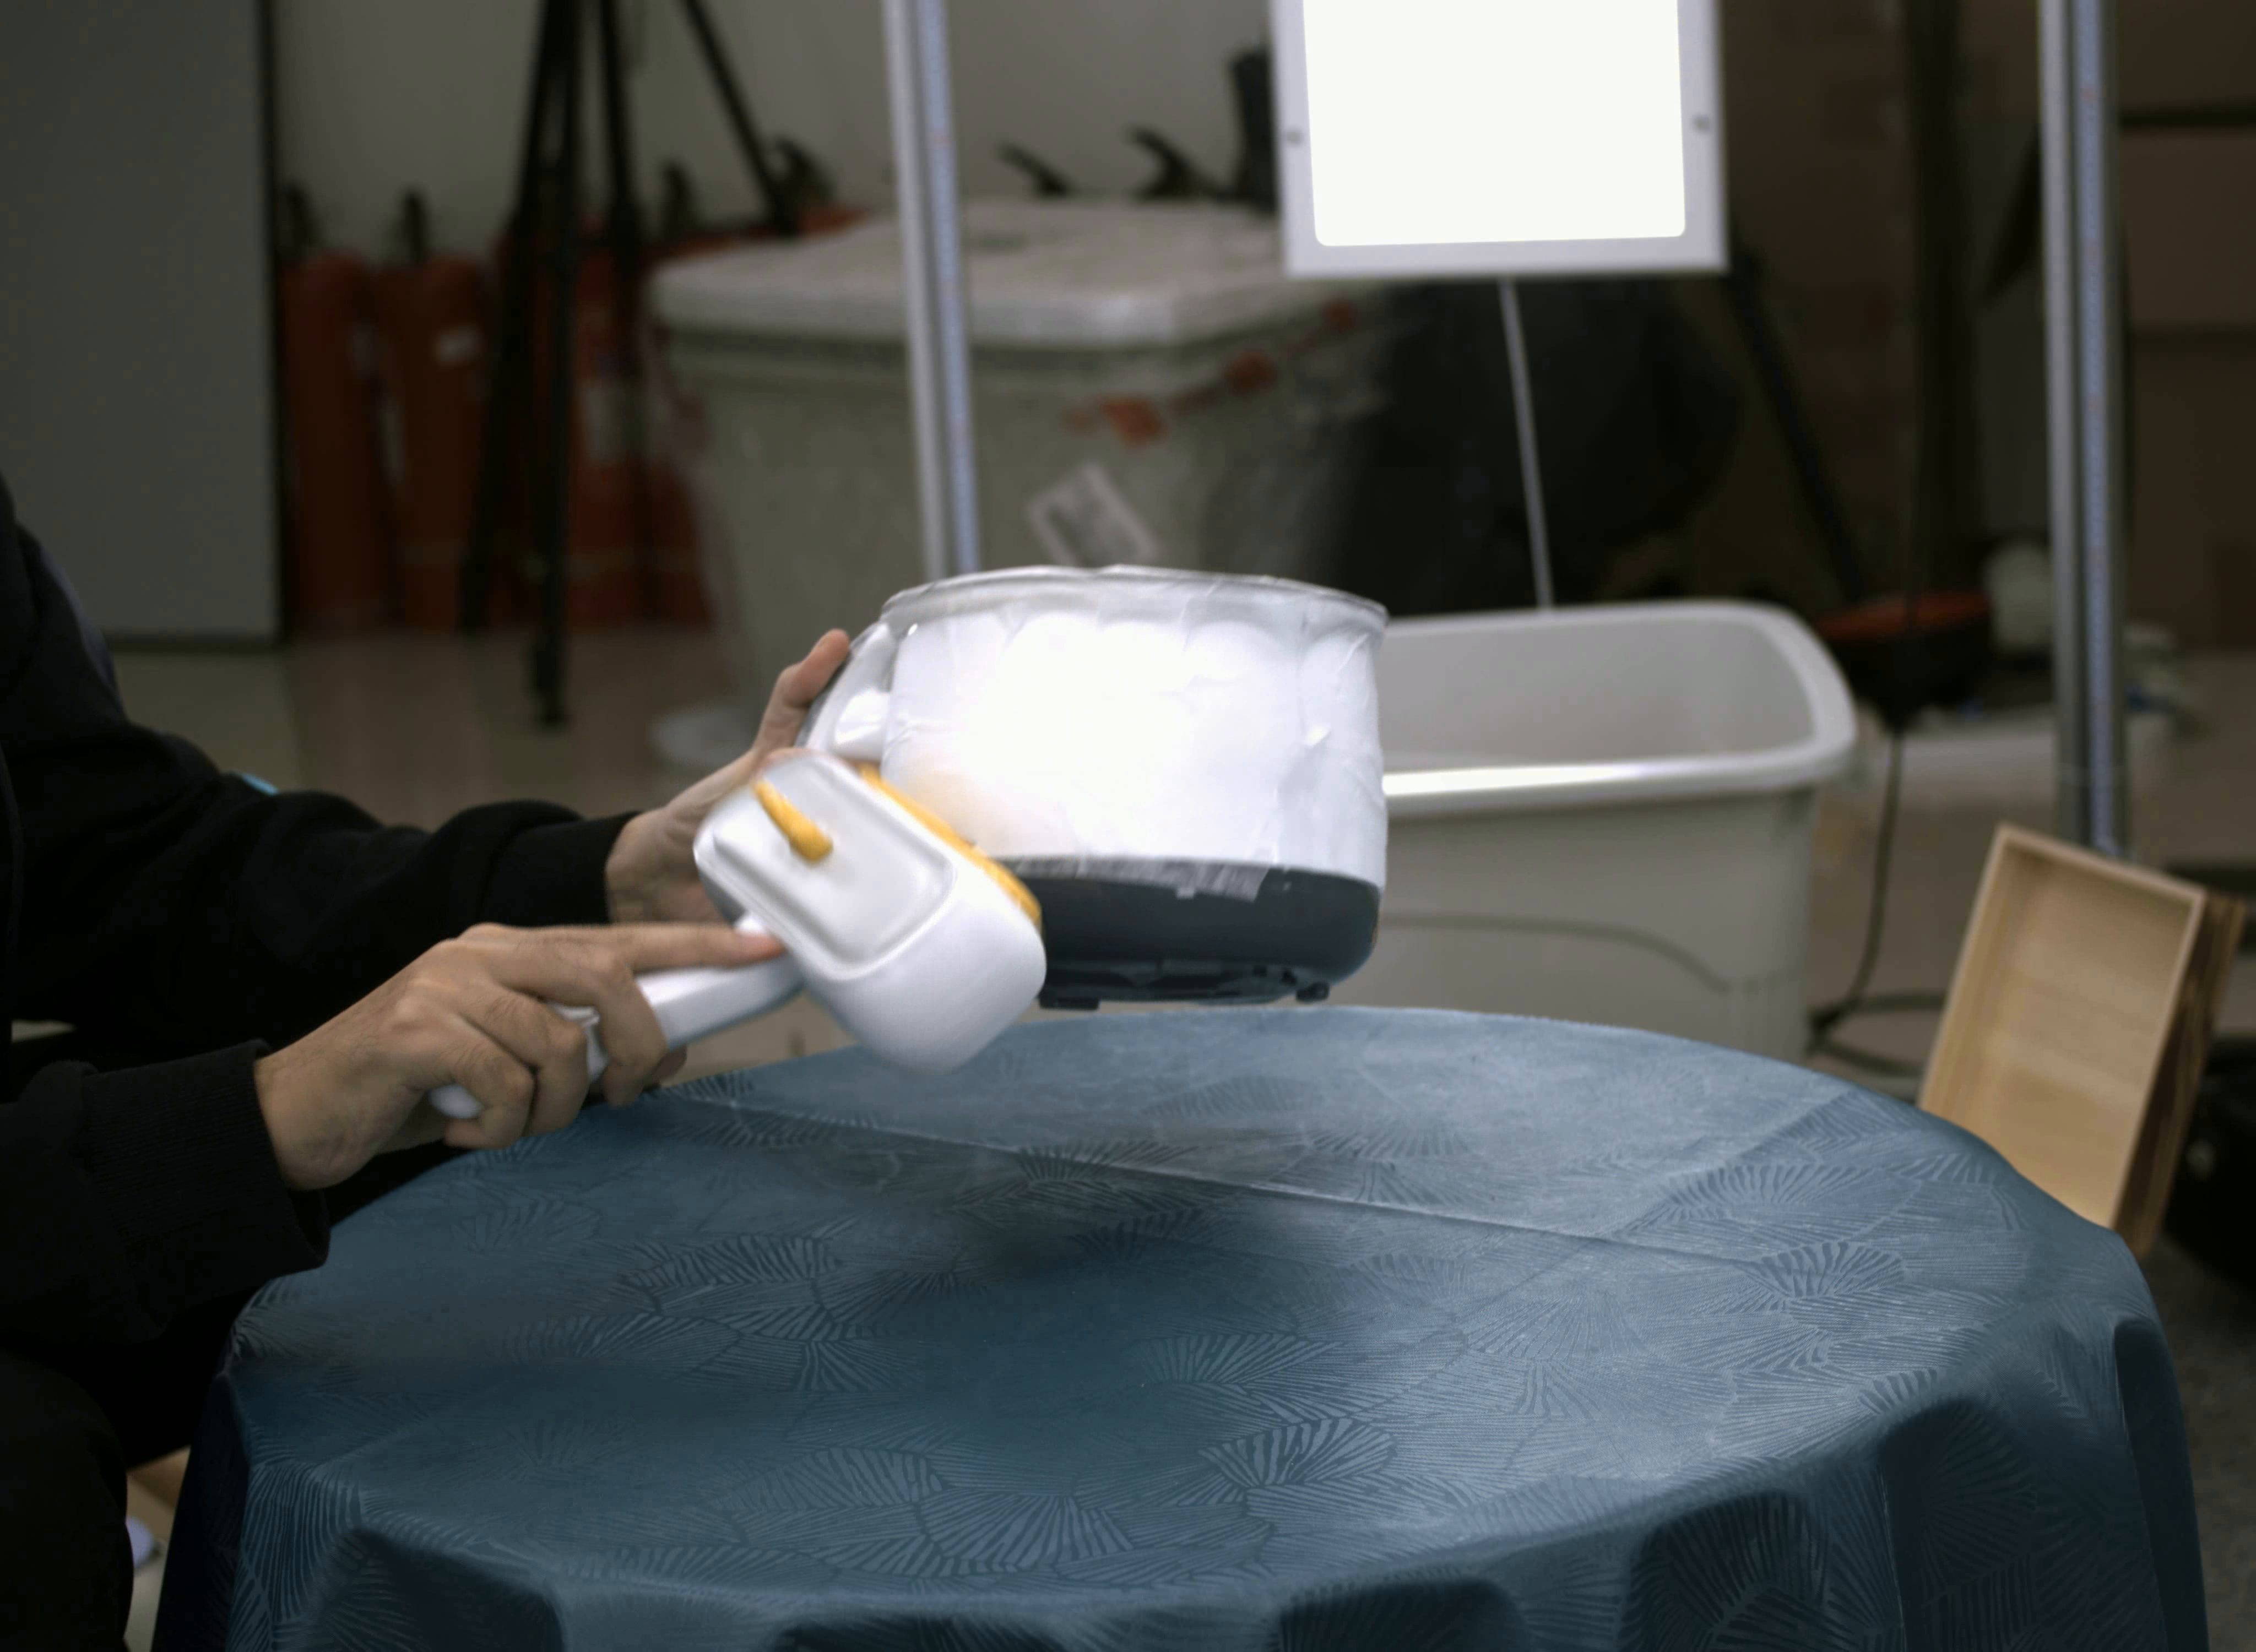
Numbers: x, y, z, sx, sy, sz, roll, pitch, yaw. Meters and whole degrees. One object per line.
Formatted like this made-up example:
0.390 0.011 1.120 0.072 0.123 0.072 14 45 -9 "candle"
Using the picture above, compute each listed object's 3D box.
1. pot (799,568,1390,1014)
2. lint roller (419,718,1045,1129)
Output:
-0.025 -0.008 1.906 0.238 0.137 0.175 -2 -9 28 "pot"
-0.138 0.047 1.780 0.190 0.074 0.196 -37 31 -12 "lint roller"
